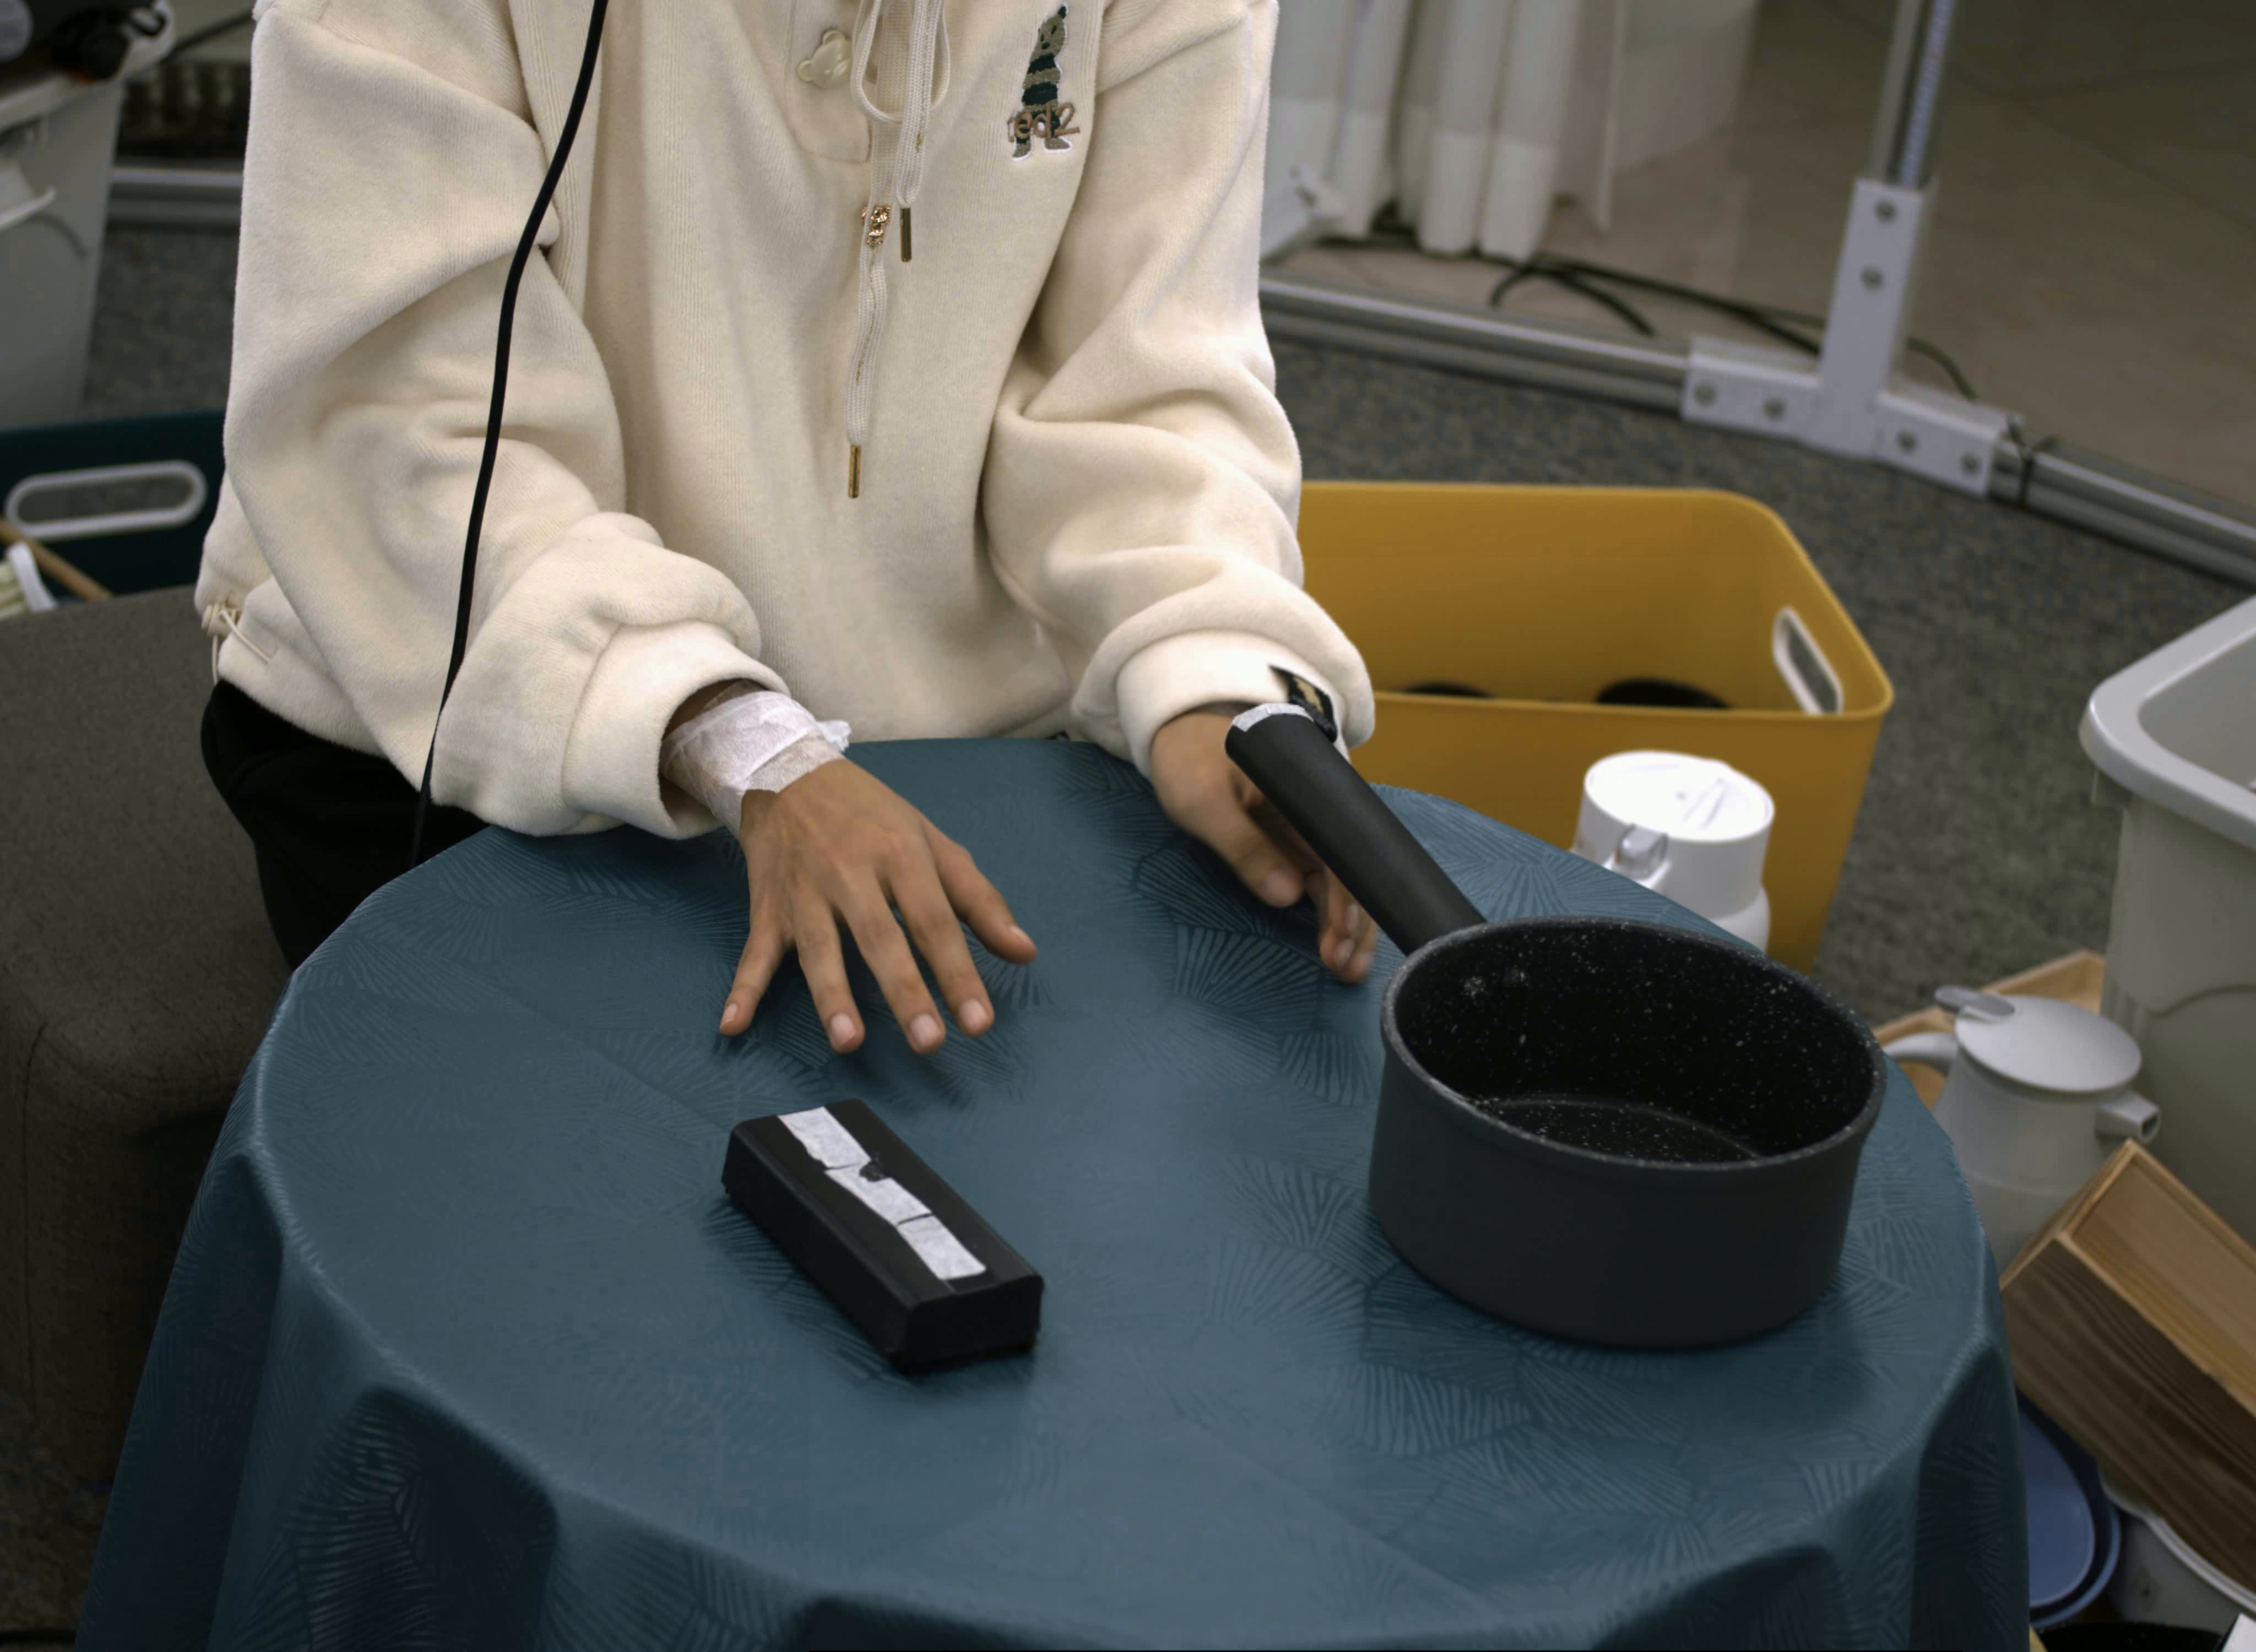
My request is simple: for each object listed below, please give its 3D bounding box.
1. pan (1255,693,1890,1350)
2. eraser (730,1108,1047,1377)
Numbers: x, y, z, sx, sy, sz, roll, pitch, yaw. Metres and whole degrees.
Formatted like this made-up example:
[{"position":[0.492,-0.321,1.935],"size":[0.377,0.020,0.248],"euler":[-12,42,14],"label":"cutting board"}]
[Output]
[{"position":[0.129,0.065,1.854],"size":[0.171,0.086,0.332],"euler":[-7,31,-27],"label":"pan"},{"position":[-0.079,0.135,1.733],"size":[0.053,0.030,0.126],"euler":[-9,30,-30],"label":"eraser"}]
